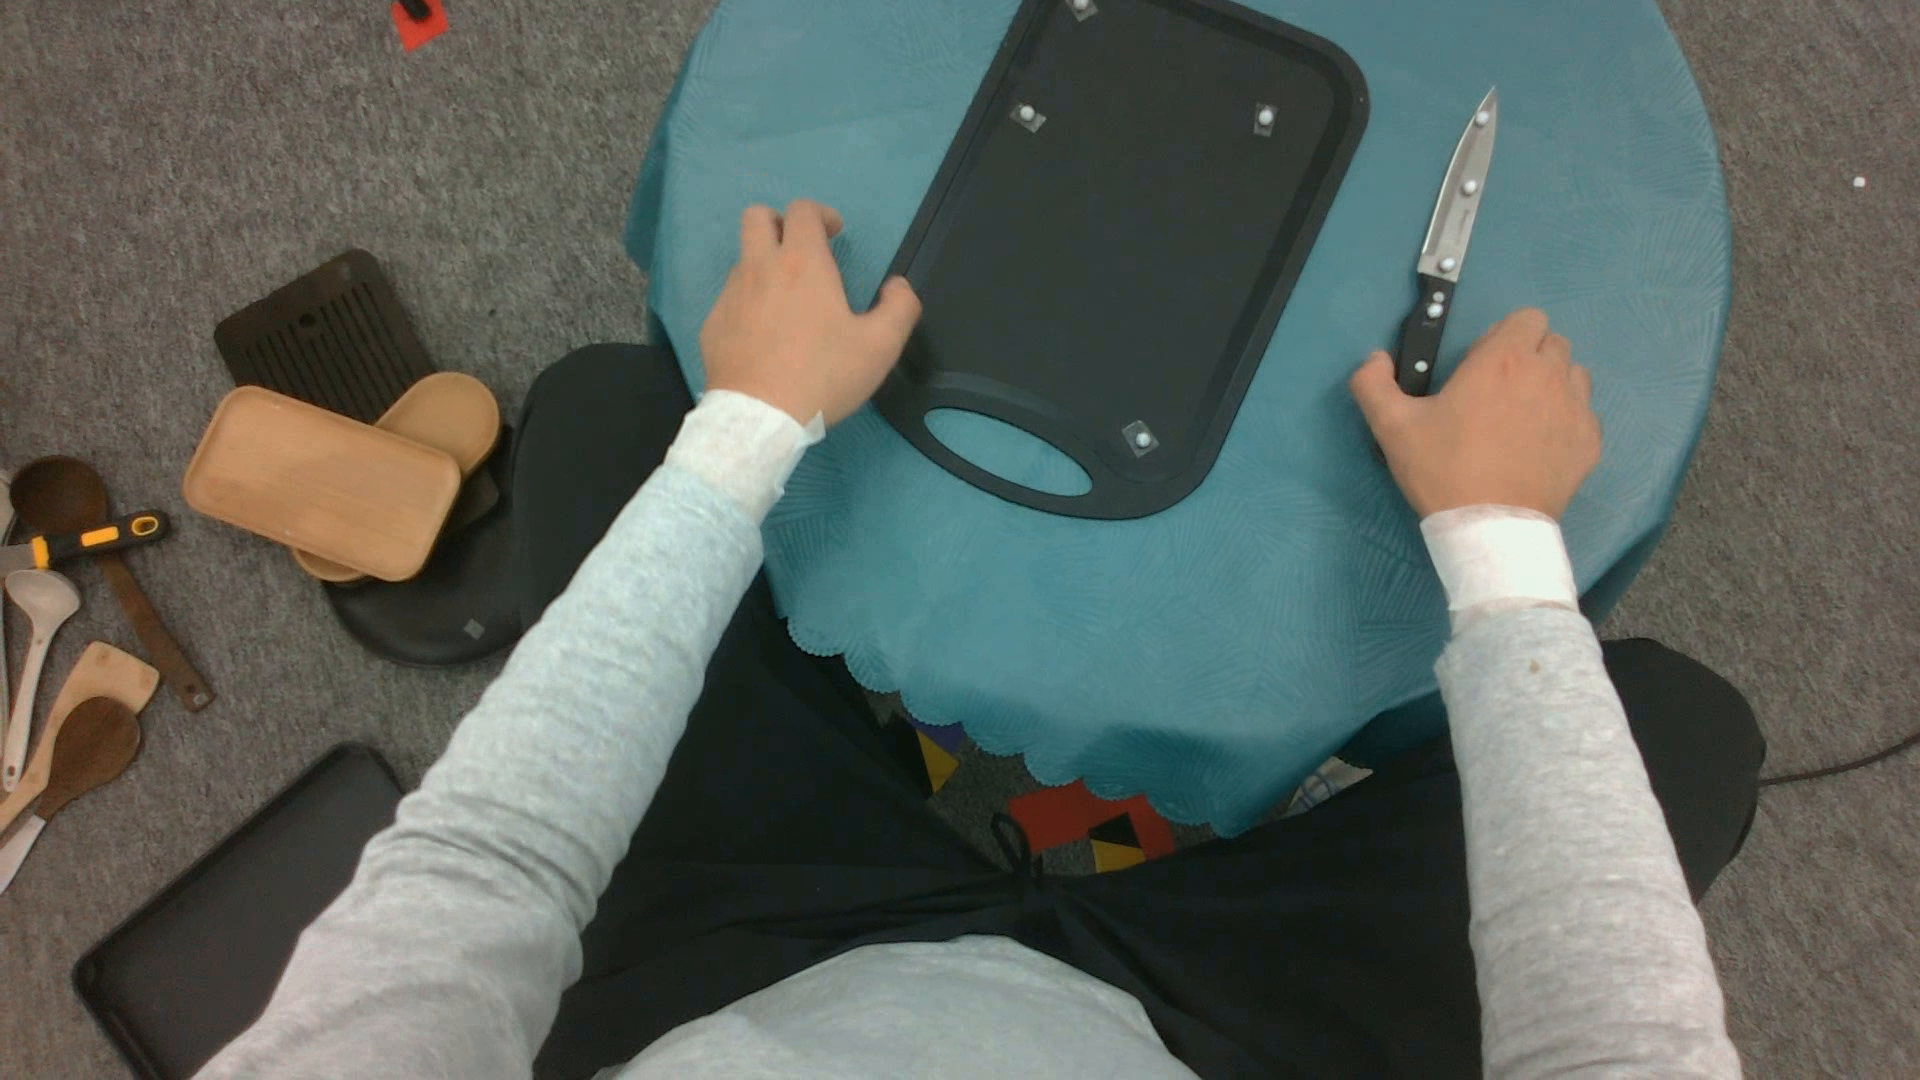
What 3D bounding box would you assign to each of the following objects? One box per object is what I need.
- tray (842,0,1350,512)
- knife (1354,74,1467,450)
[{"bbox_3d":[0.075,-0.175,0.769,0.211,0.010,0.326,25,79,6],"label":"tray"},{"bbox_3d":[0.256,-0.157,0.762,0.024,0.016,0.239,18,76,2],"label":"knife"}]
